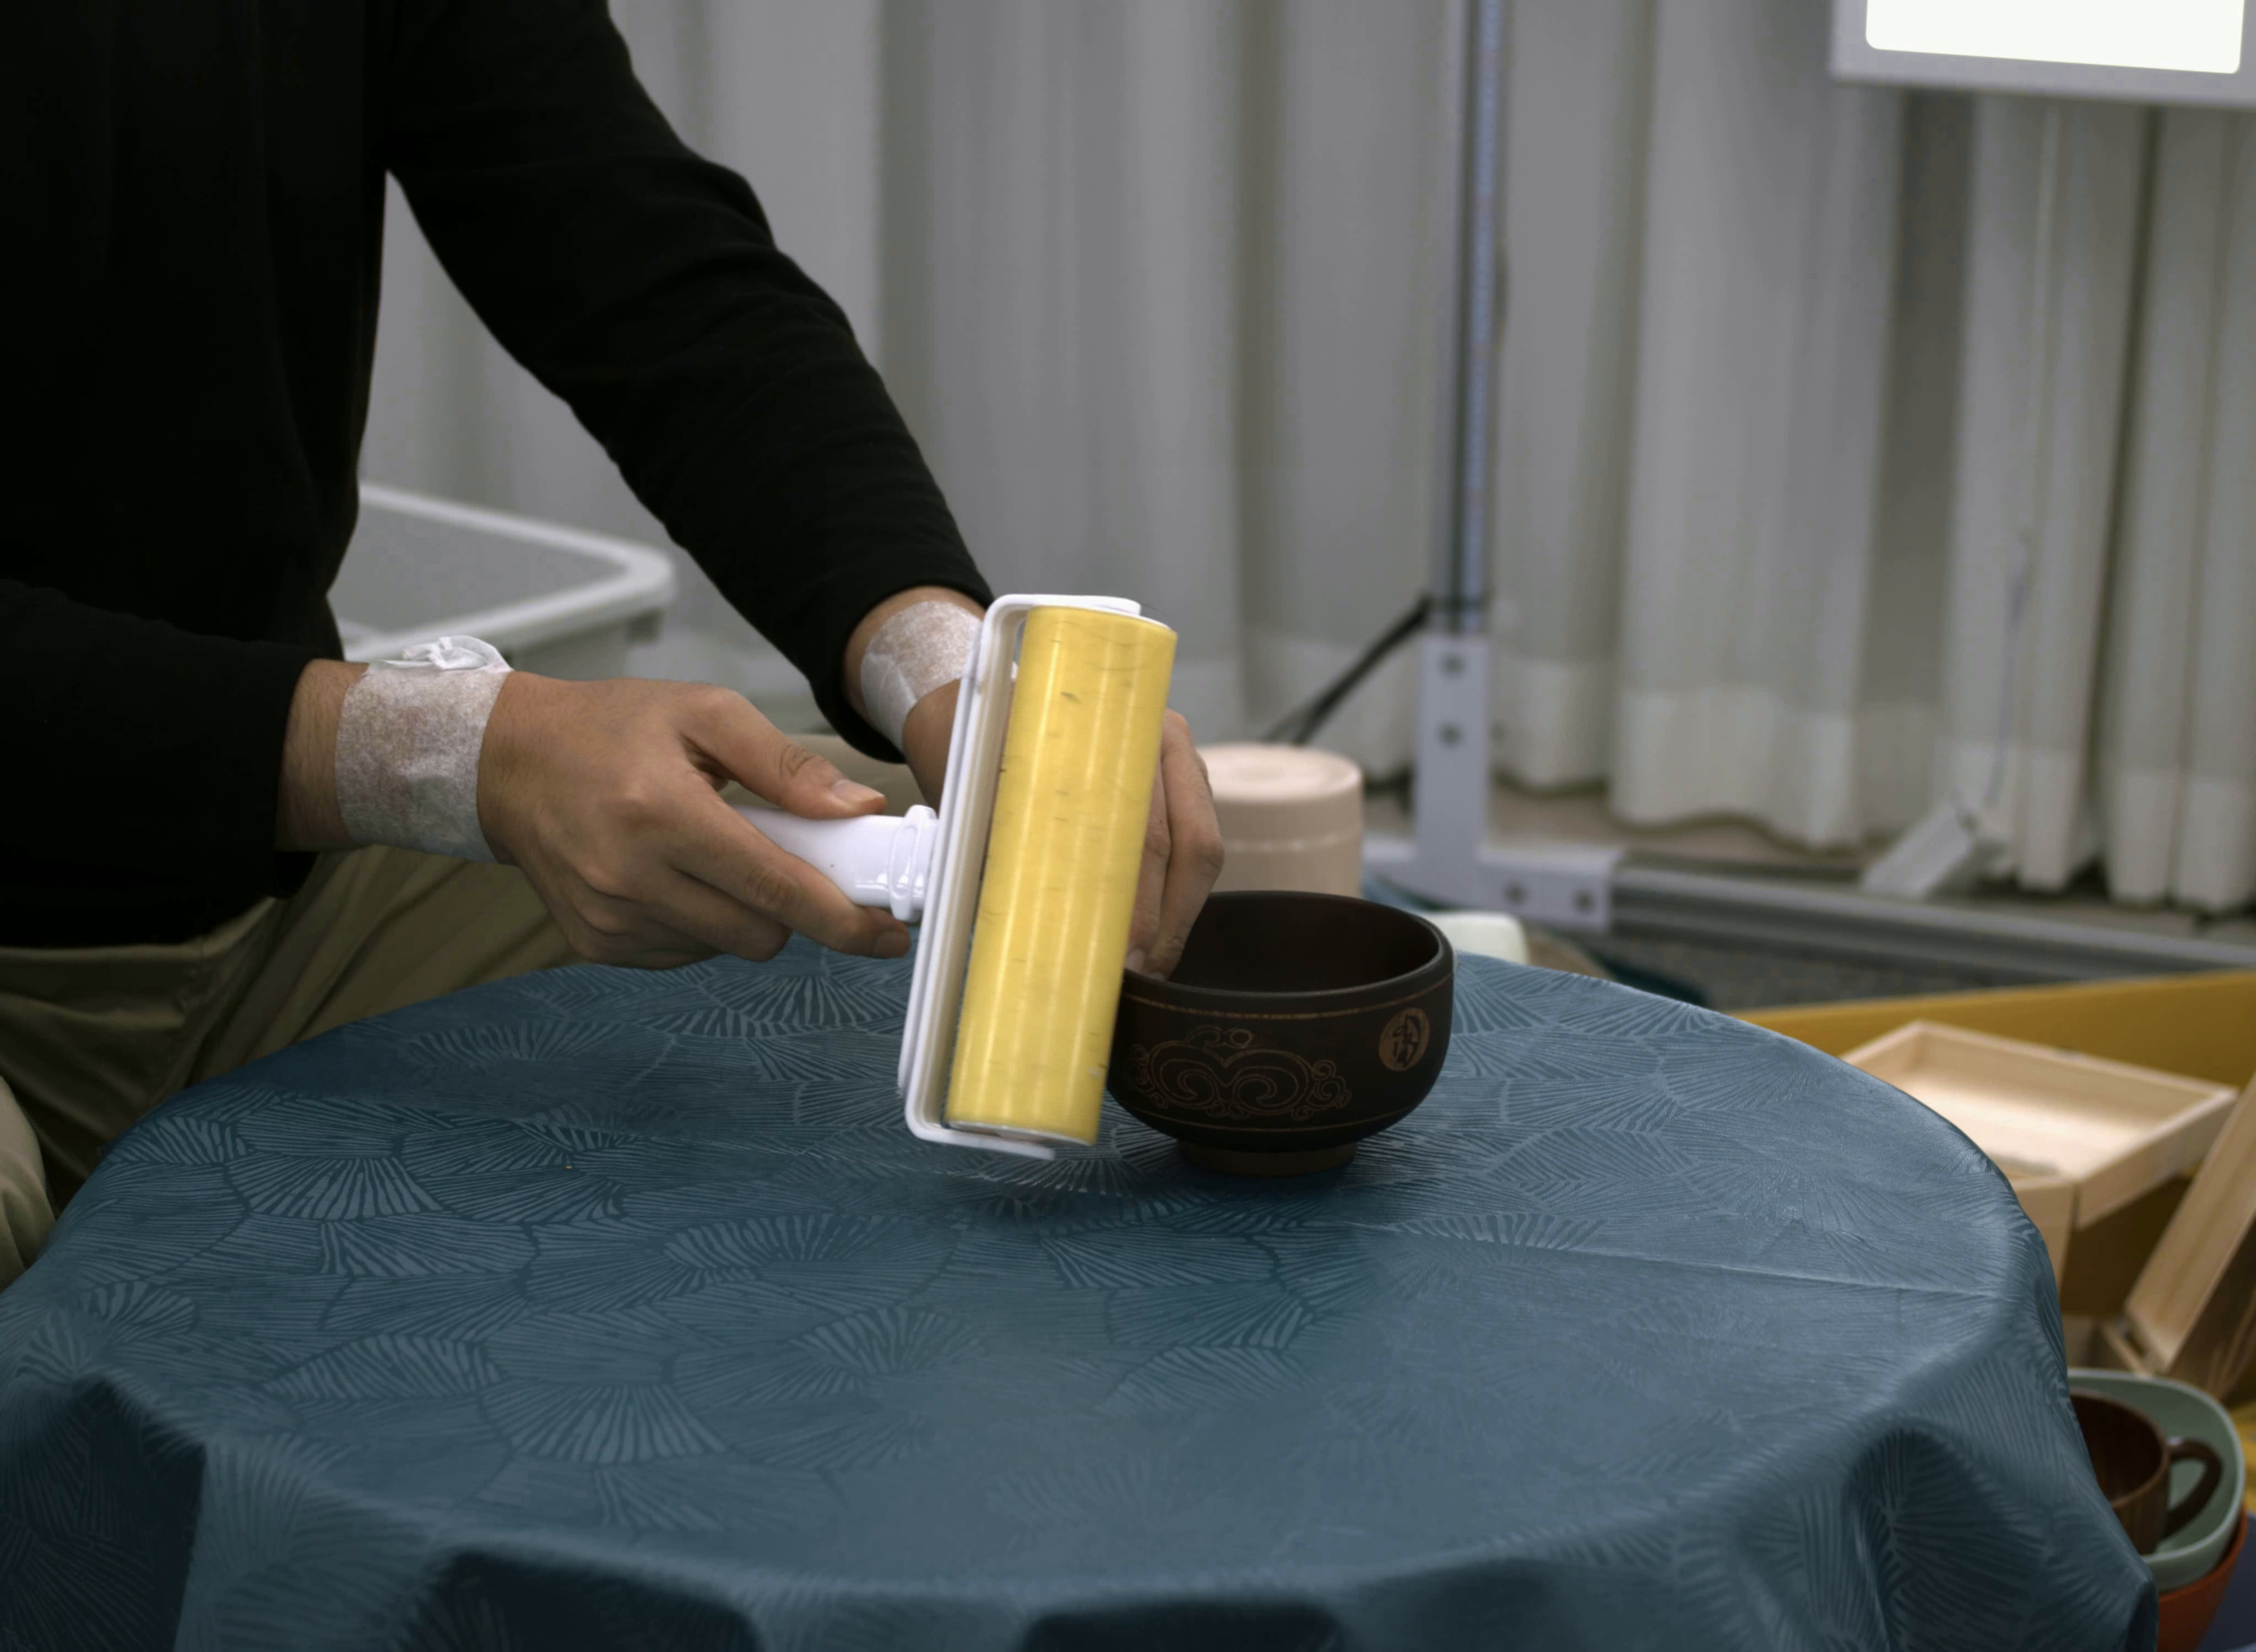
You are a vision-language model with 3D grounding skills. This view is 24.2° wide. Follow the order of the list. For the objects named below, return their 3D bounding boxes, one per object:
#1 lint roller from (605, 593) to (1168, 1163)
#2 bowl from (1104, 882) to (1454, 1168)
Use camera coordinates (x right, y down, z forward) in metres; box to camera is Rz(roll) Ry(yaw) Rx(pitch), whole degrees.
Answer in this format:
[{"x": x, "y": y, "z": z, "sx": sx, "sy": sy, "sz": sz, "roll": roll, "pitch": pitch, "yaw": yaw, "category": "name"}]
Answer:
[{"x": -0.086, "y": 0.011, "z": 1.638, "sx": 0.190, "sy": 0.174, "sz": 0.052, "roll": 4, "pitch": -8, "yaw": 22, "category": "lint roller"}, {"x": 0.043, "y": 0.066, "z": 1.650, "sx": 0.117, "sy": 0.070, "sz": 0.117, "roll": 2, "pitch": 15, "yaw": 0, "category": "bowl"}]
